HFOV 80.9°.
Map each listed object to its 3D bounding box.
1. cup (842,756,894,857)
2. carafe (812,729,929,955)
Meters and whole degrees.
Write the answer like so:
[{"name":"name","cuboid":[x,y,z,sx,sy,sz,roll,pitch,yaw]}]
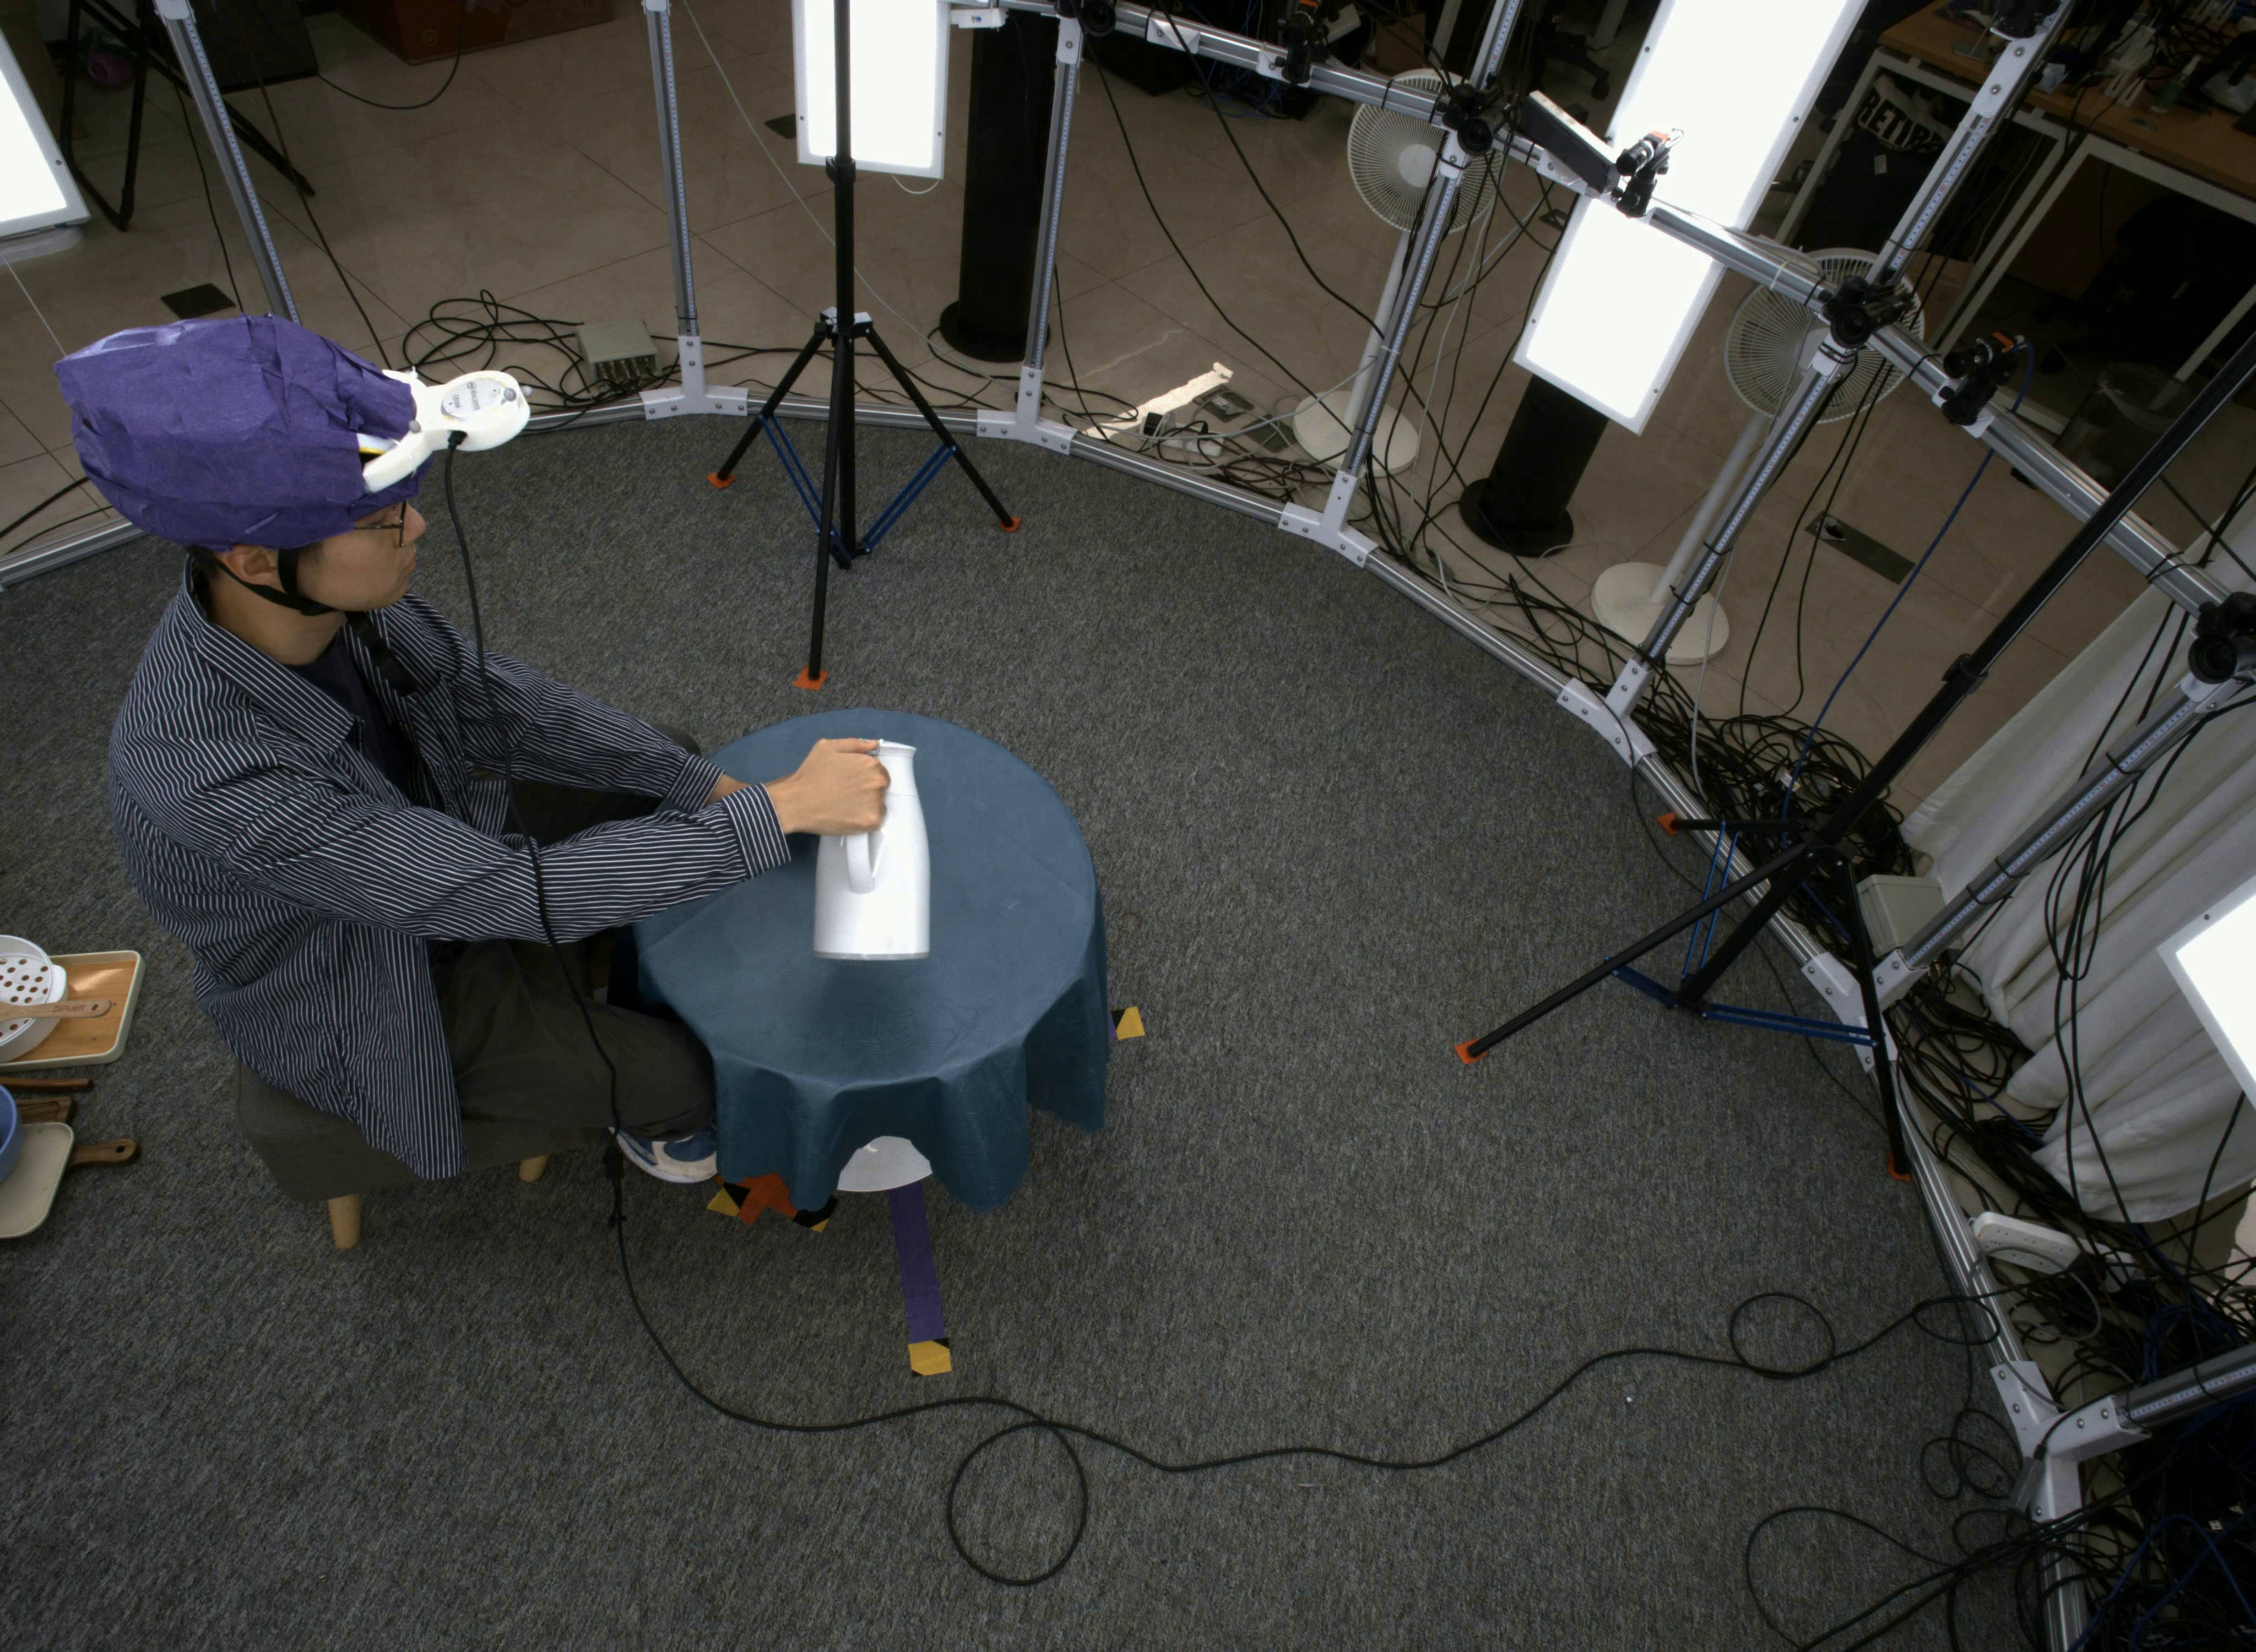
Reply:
[{"name":"cup","cuboid":[-0.336,-0.025,1.664,0.067,0.134,0.065,8,53,-9]},{"name":"carafe","cuboid":[-0.292,0.018,1.474,0.131,0.167,0.252,1,90,-3]}]
